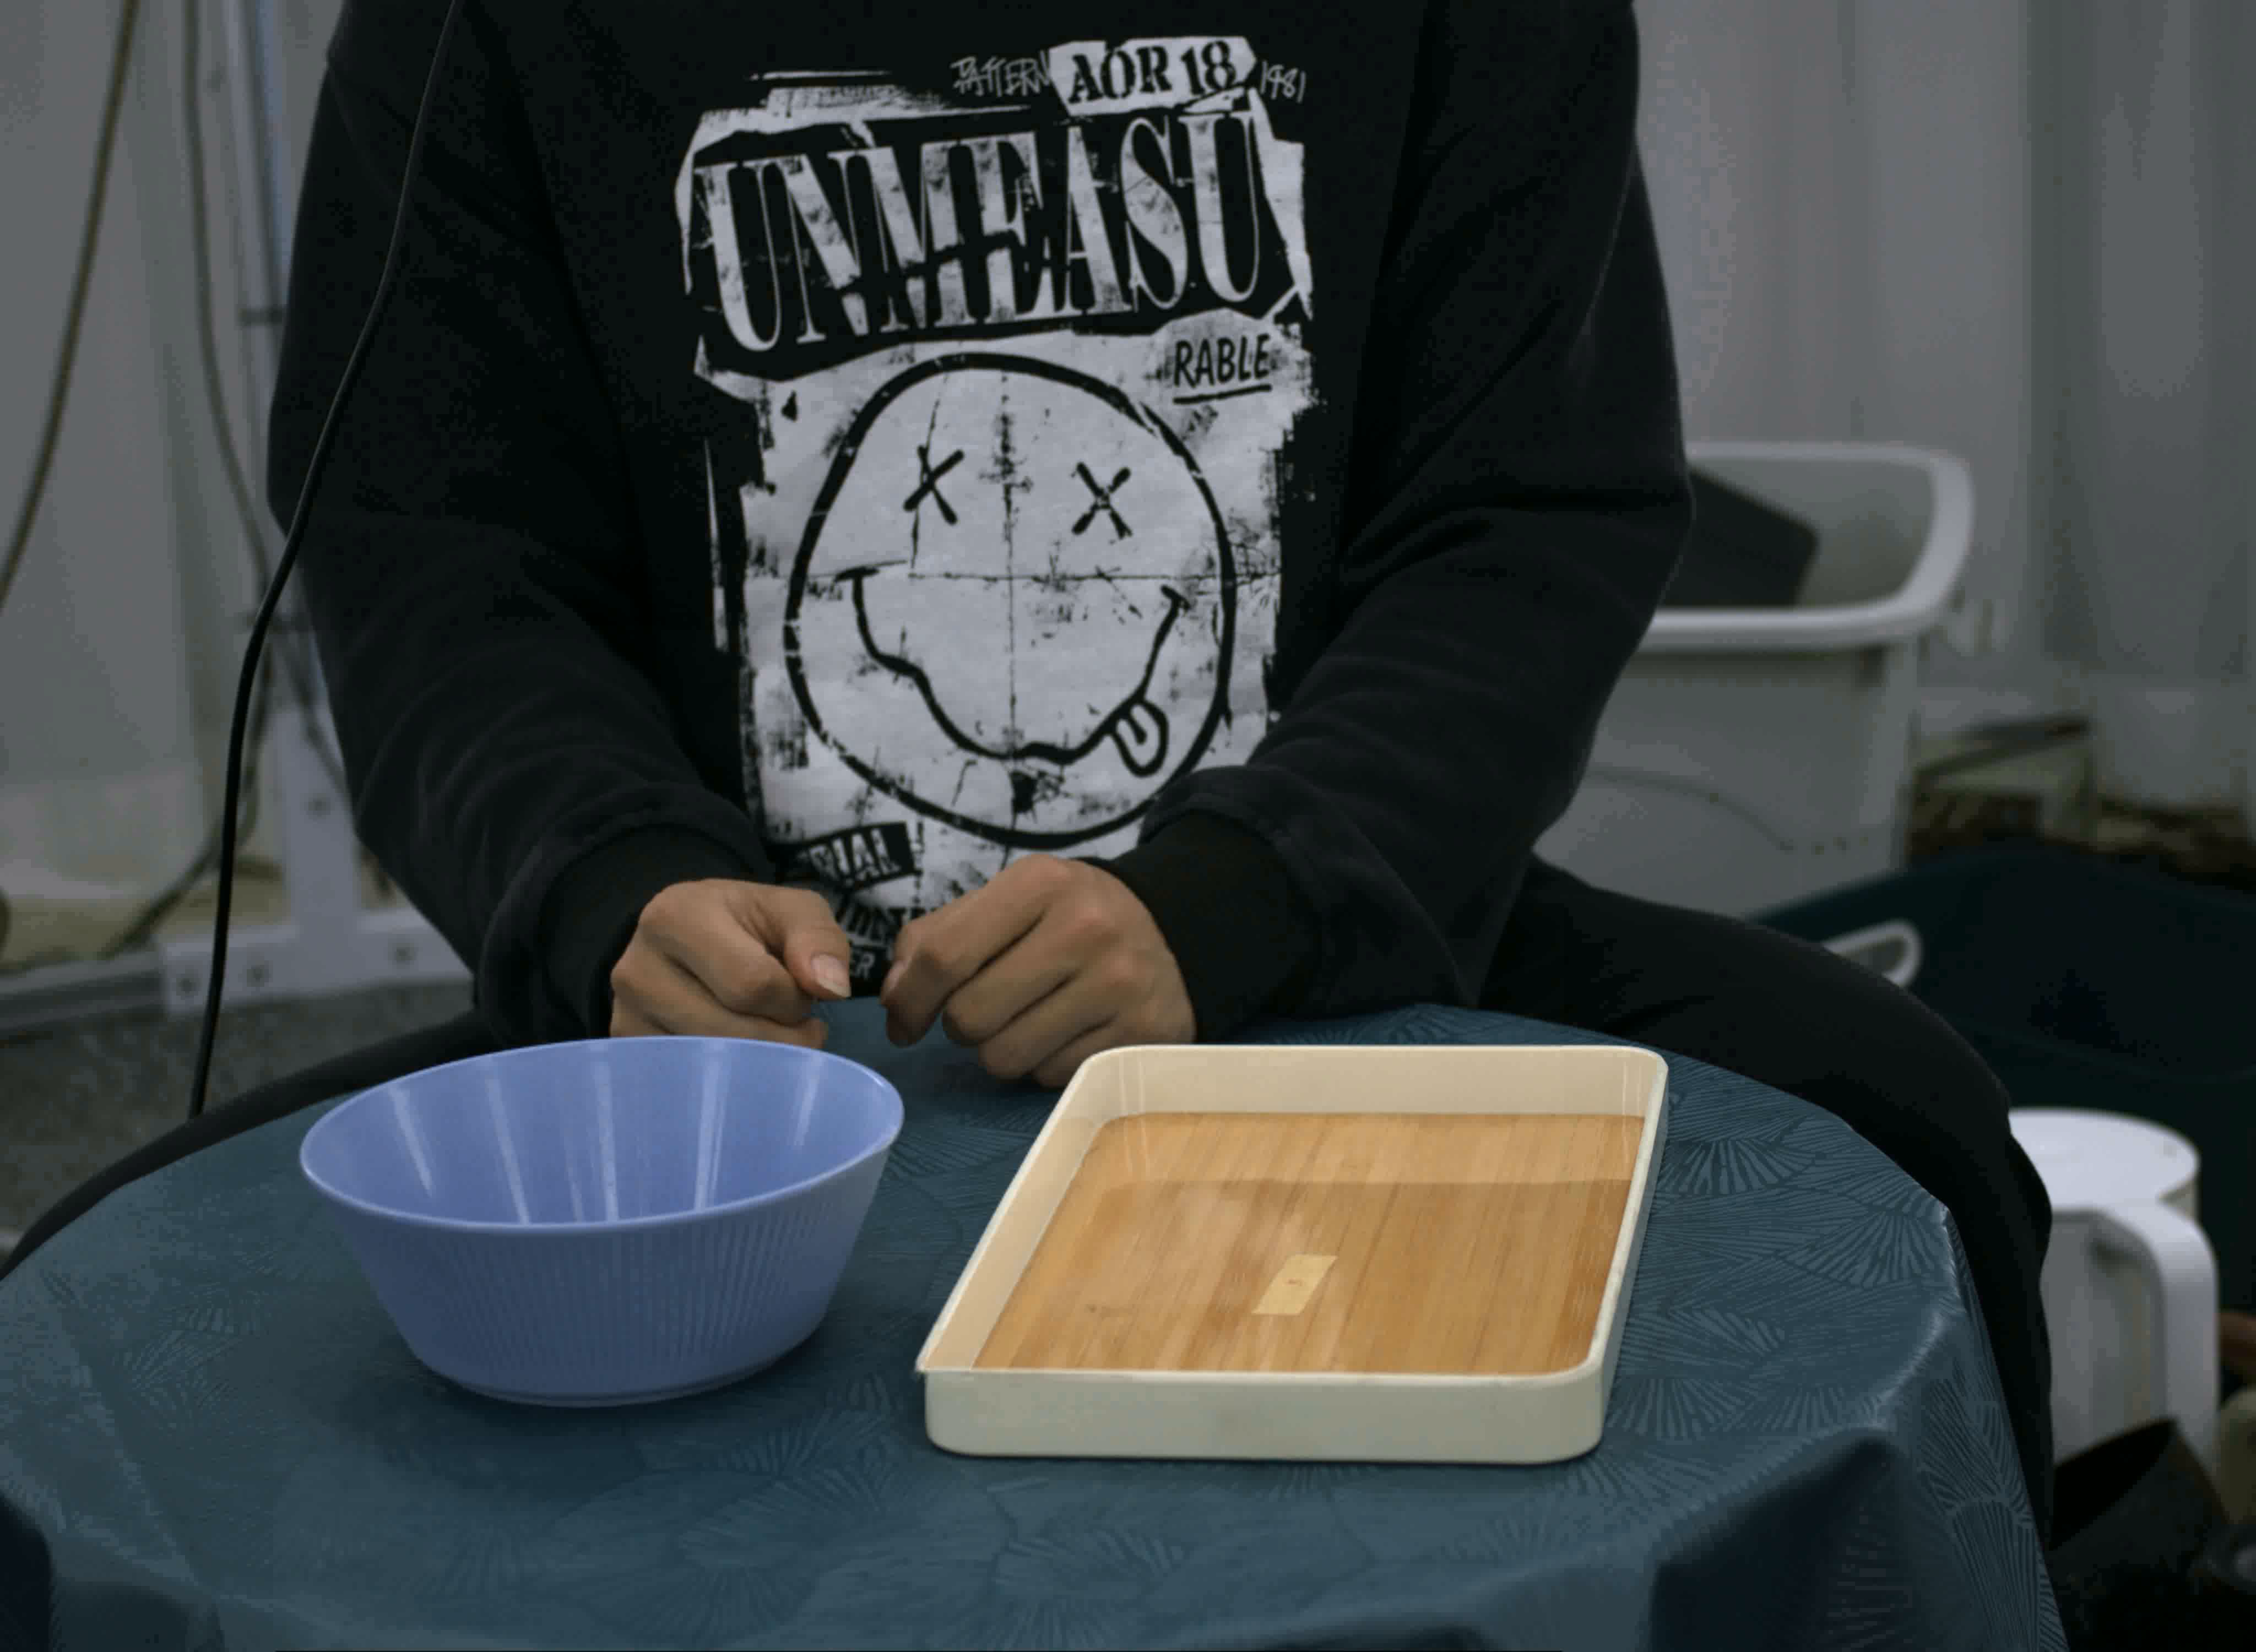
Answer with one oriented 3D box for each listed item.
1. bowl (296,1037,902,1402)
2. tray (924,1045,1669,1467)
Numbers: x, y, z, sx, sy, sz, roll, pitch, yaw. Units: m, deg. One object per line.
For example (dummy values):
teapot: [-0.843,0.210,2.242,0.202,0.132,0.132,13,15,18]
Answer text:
bowl: [-0.152,0.117,1.596,0.175,0.070,0.177,-2,15,0]
tray: [0.058,0.123,1.623,0.191,0.027,0.302,-1,15,10]
